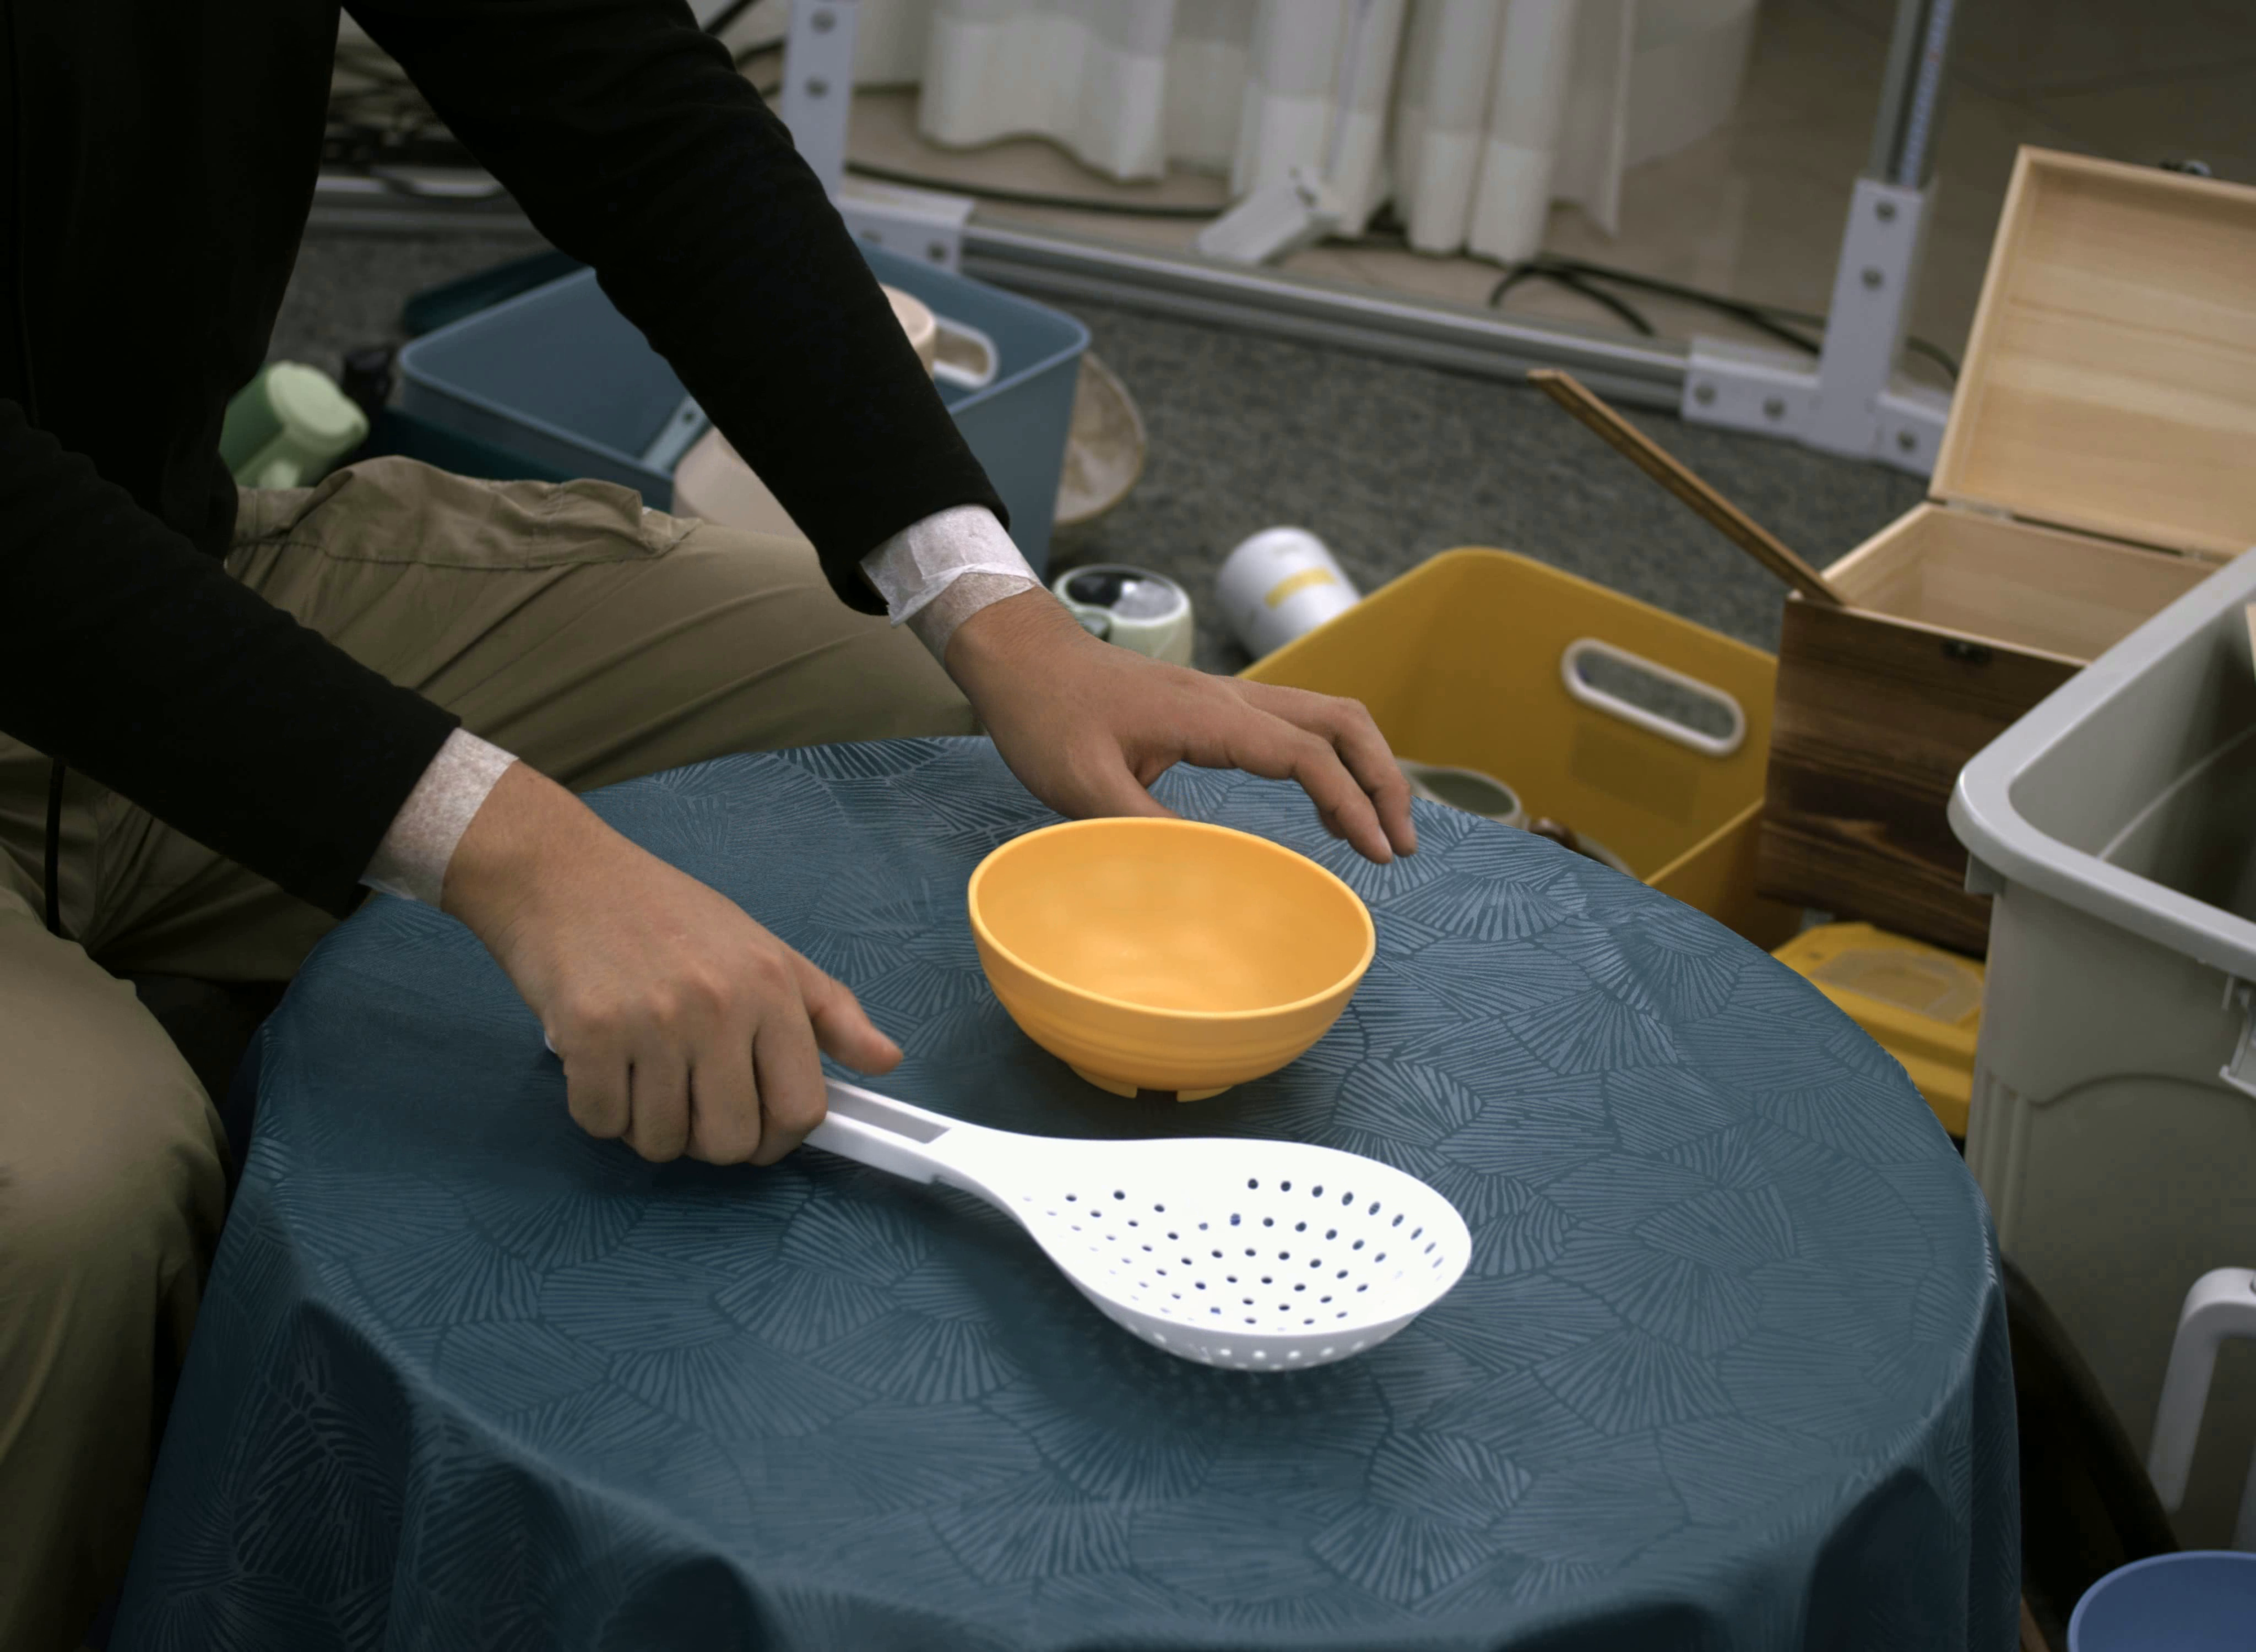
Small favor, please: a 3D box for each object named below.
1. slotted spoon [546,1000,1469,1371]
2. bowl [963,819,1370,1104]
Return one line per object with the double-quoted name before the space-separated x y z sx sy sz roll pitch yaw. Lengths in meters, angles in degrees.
"slotted spoon" -0.049 0.112 1.764 0.351 0.045 0.135 20 29 27
"bowl" 0.010 0.057 1.874 0.145 0.060 0.146 7 26 -4
